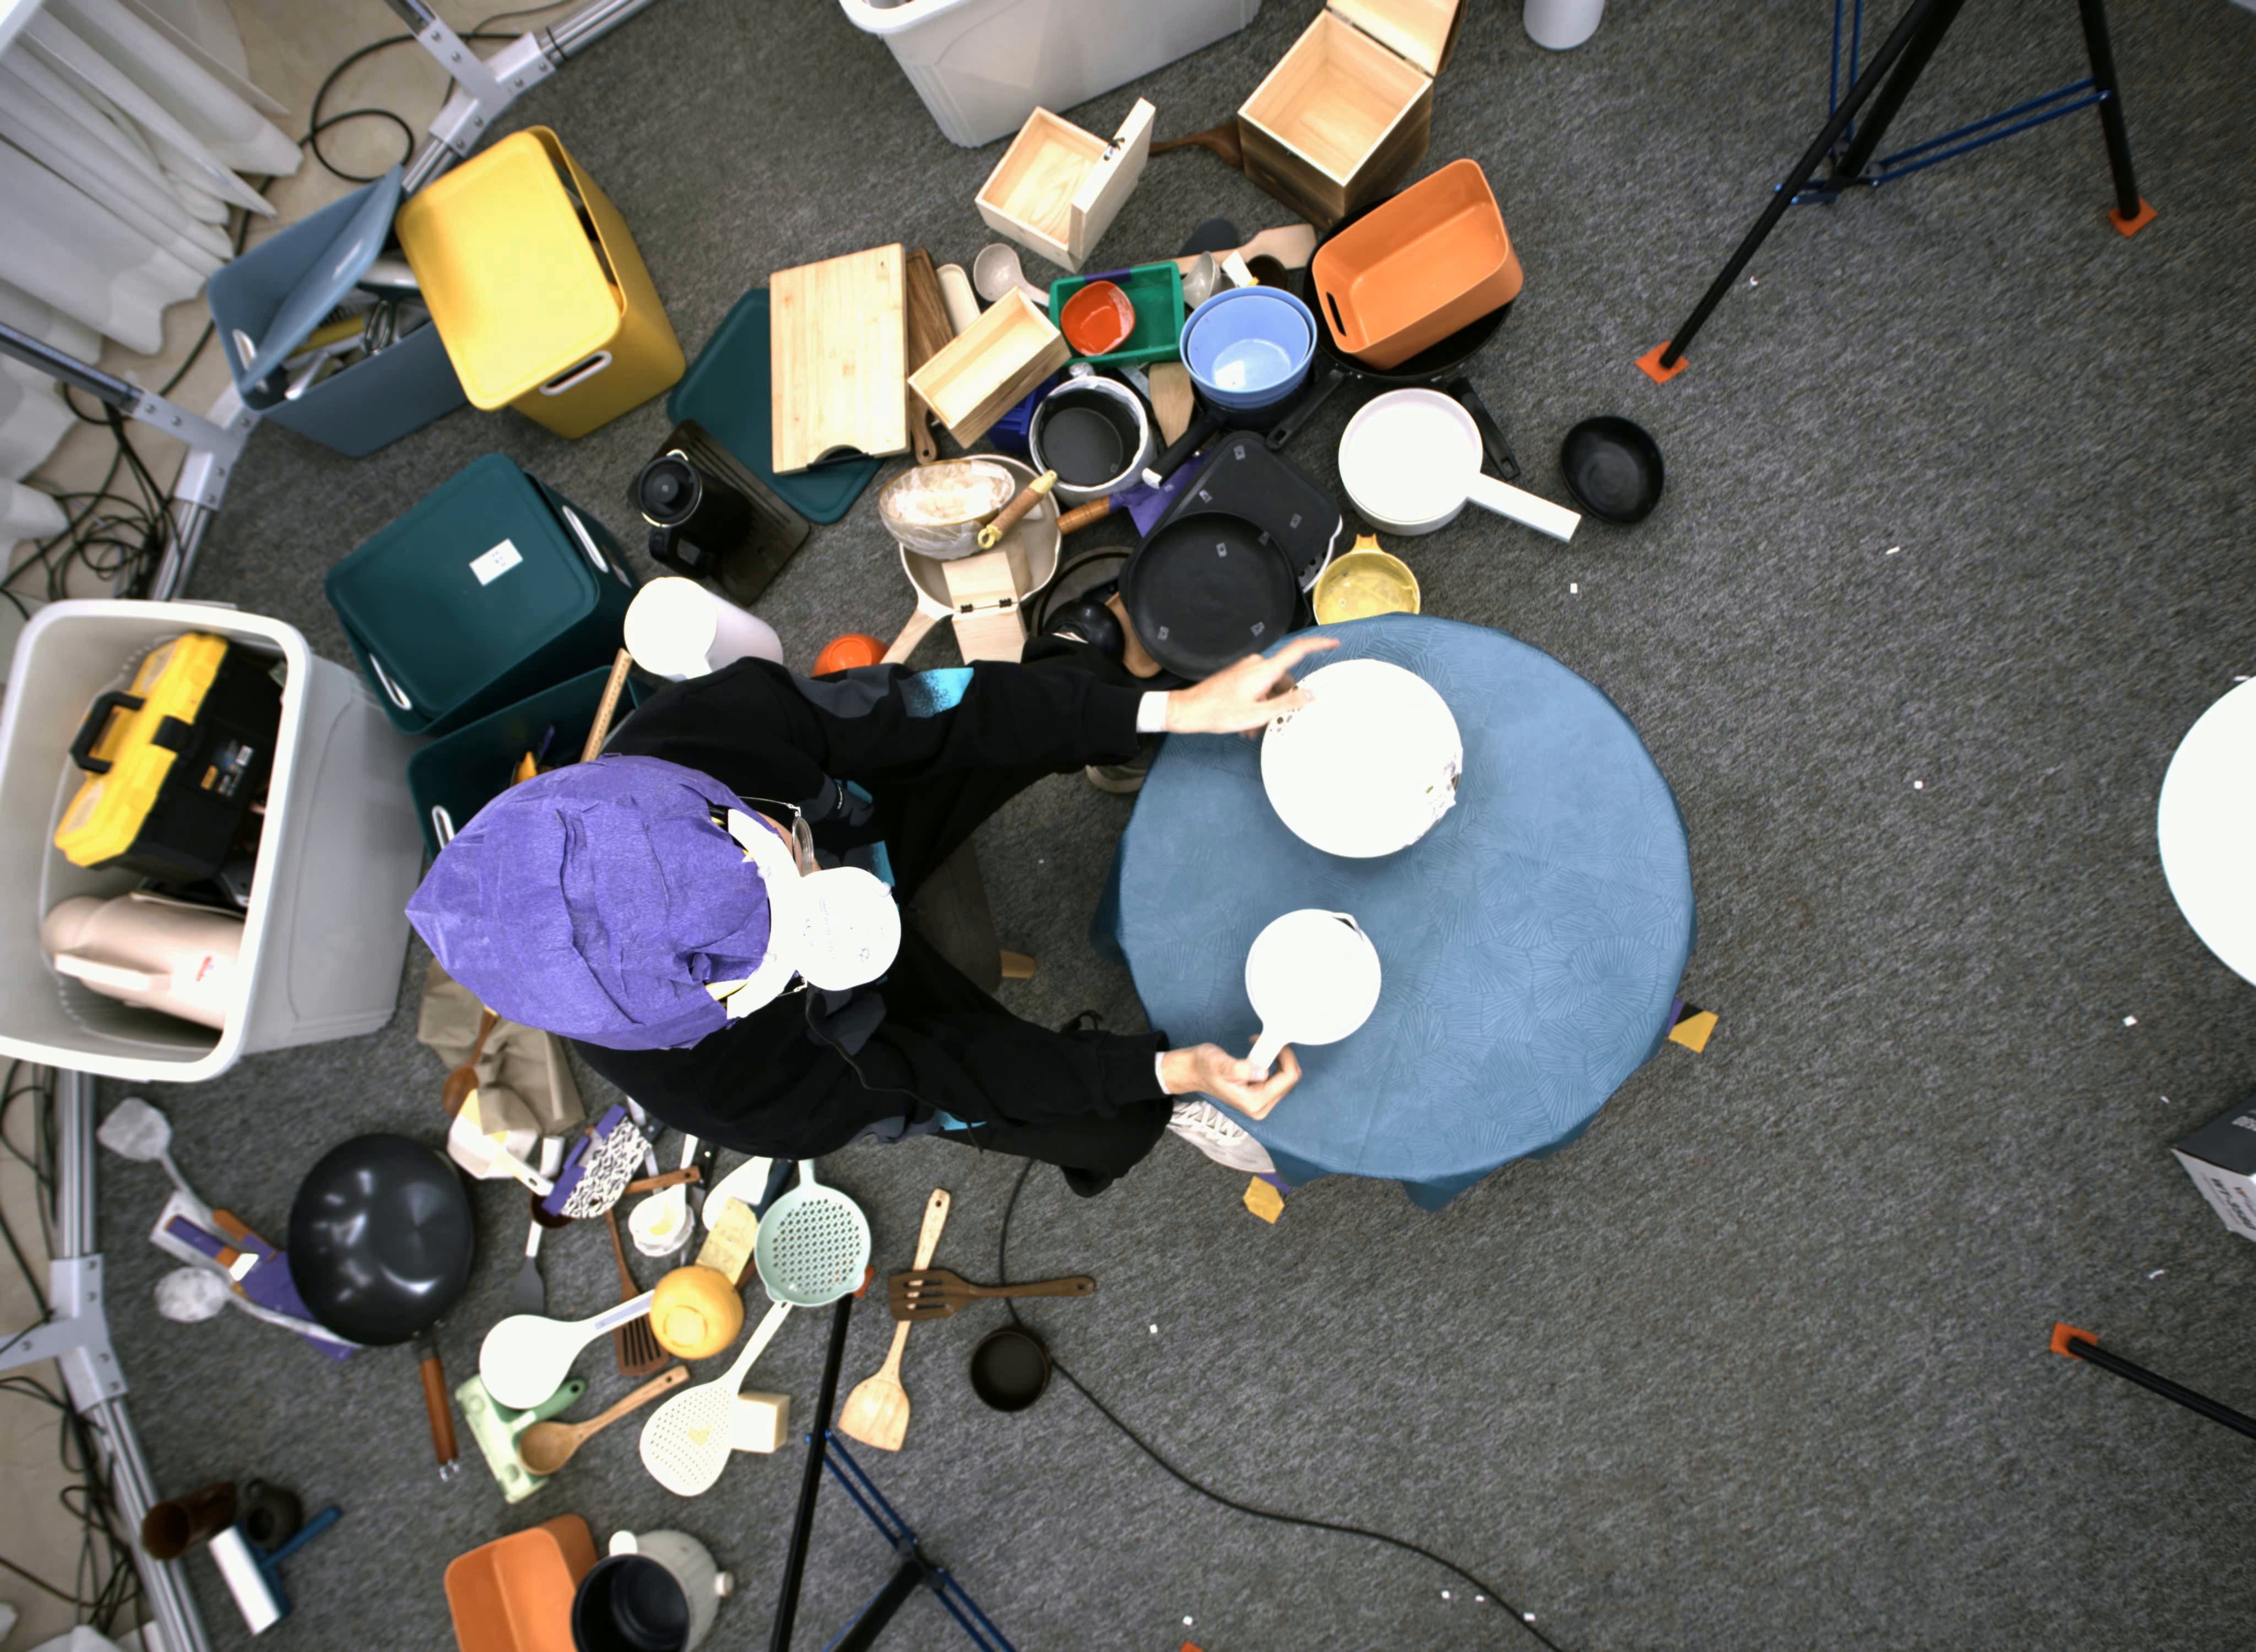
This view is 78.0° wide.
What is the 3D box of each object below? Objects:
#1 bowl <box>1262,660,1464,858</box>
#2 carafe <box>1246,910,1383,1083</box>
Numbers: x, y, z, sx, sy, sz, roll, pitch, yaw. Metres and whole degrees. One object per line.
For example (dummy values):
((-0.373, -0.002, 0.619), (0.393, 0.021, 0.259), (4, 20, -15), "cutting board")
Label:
((0.244, -0.066, 1.429), (0.205, 0.078, 0.203), (-1, 86, 13), "bowl")
((0.175, 0.171, 1.382), (0.132, 0.182, 0.192), (31, 94, 12), "carafe")
